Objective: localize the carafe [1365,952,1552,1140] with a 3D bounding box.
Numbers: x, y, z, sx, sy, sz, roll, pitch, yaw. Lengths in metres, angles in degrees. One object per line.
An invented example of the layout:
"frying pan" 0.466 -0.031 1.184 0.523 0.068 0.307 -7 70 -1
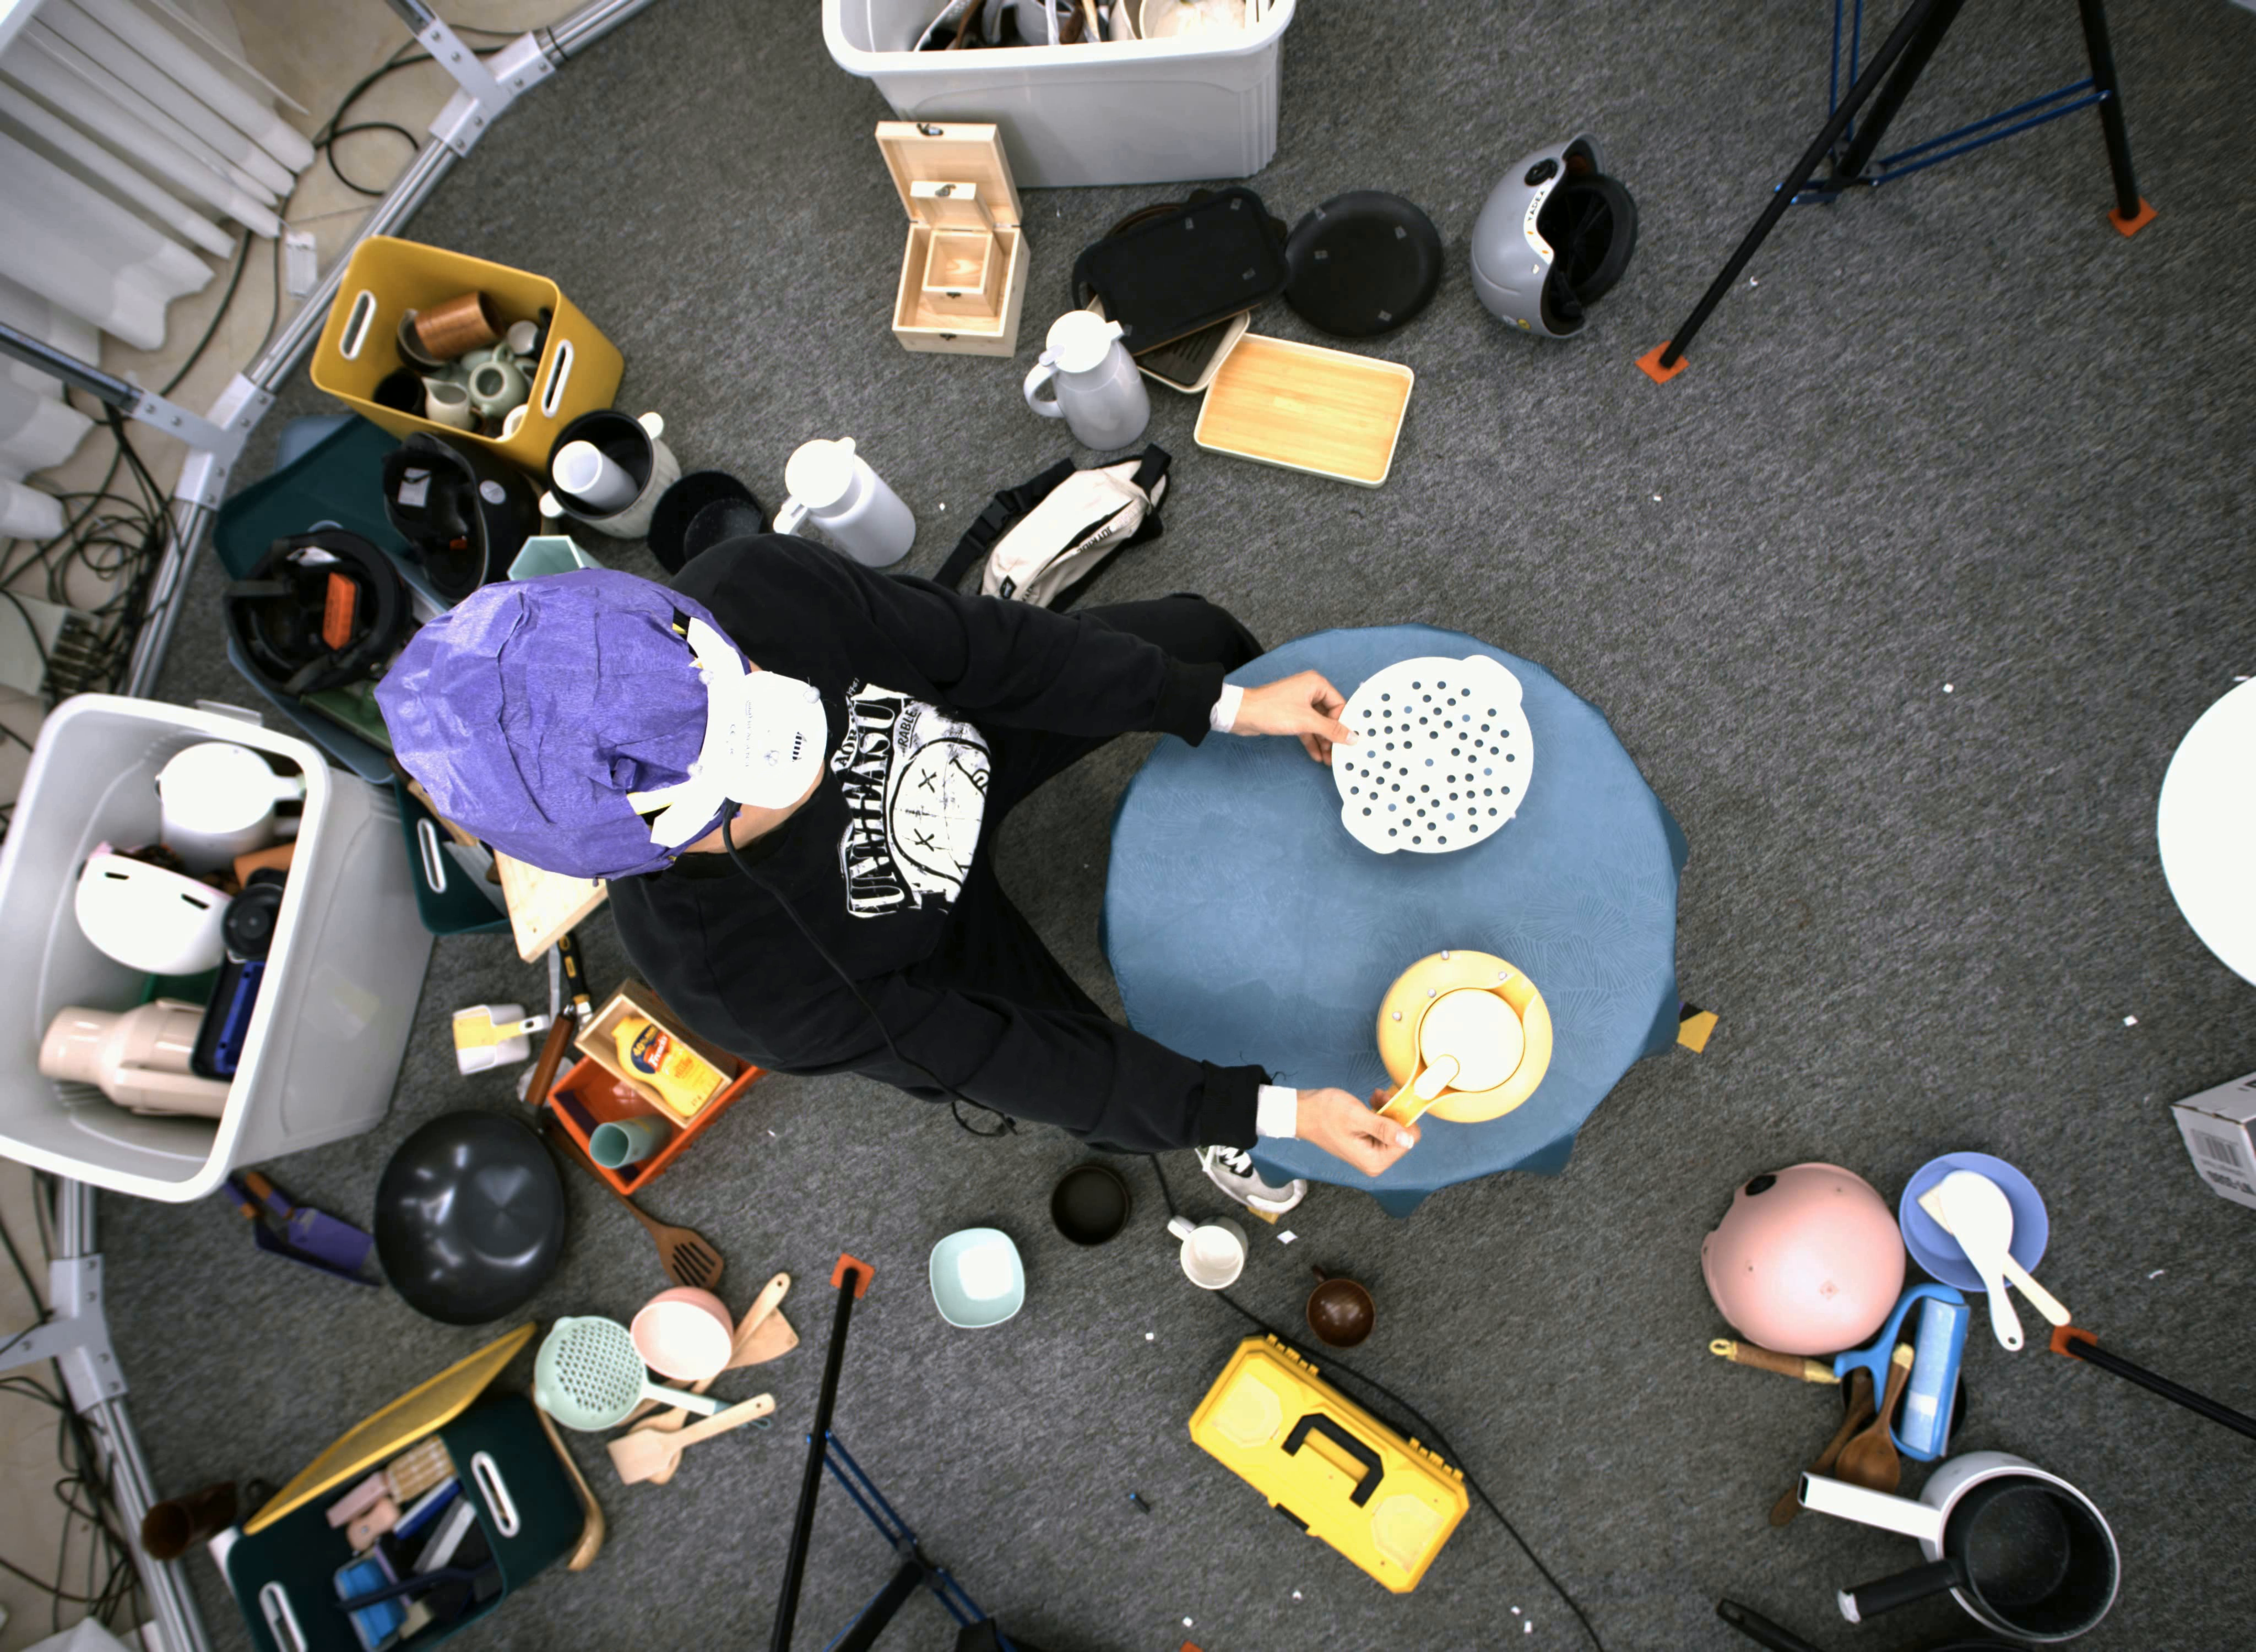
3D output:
"carafe" 0.304 0.211 1.315 0.203 0.261 0.162 -44 77 3

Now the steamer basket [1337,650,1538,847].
"steamer basket" 0.315 -0.079 1.415 0.201 0.069 0.229 41 86 7
